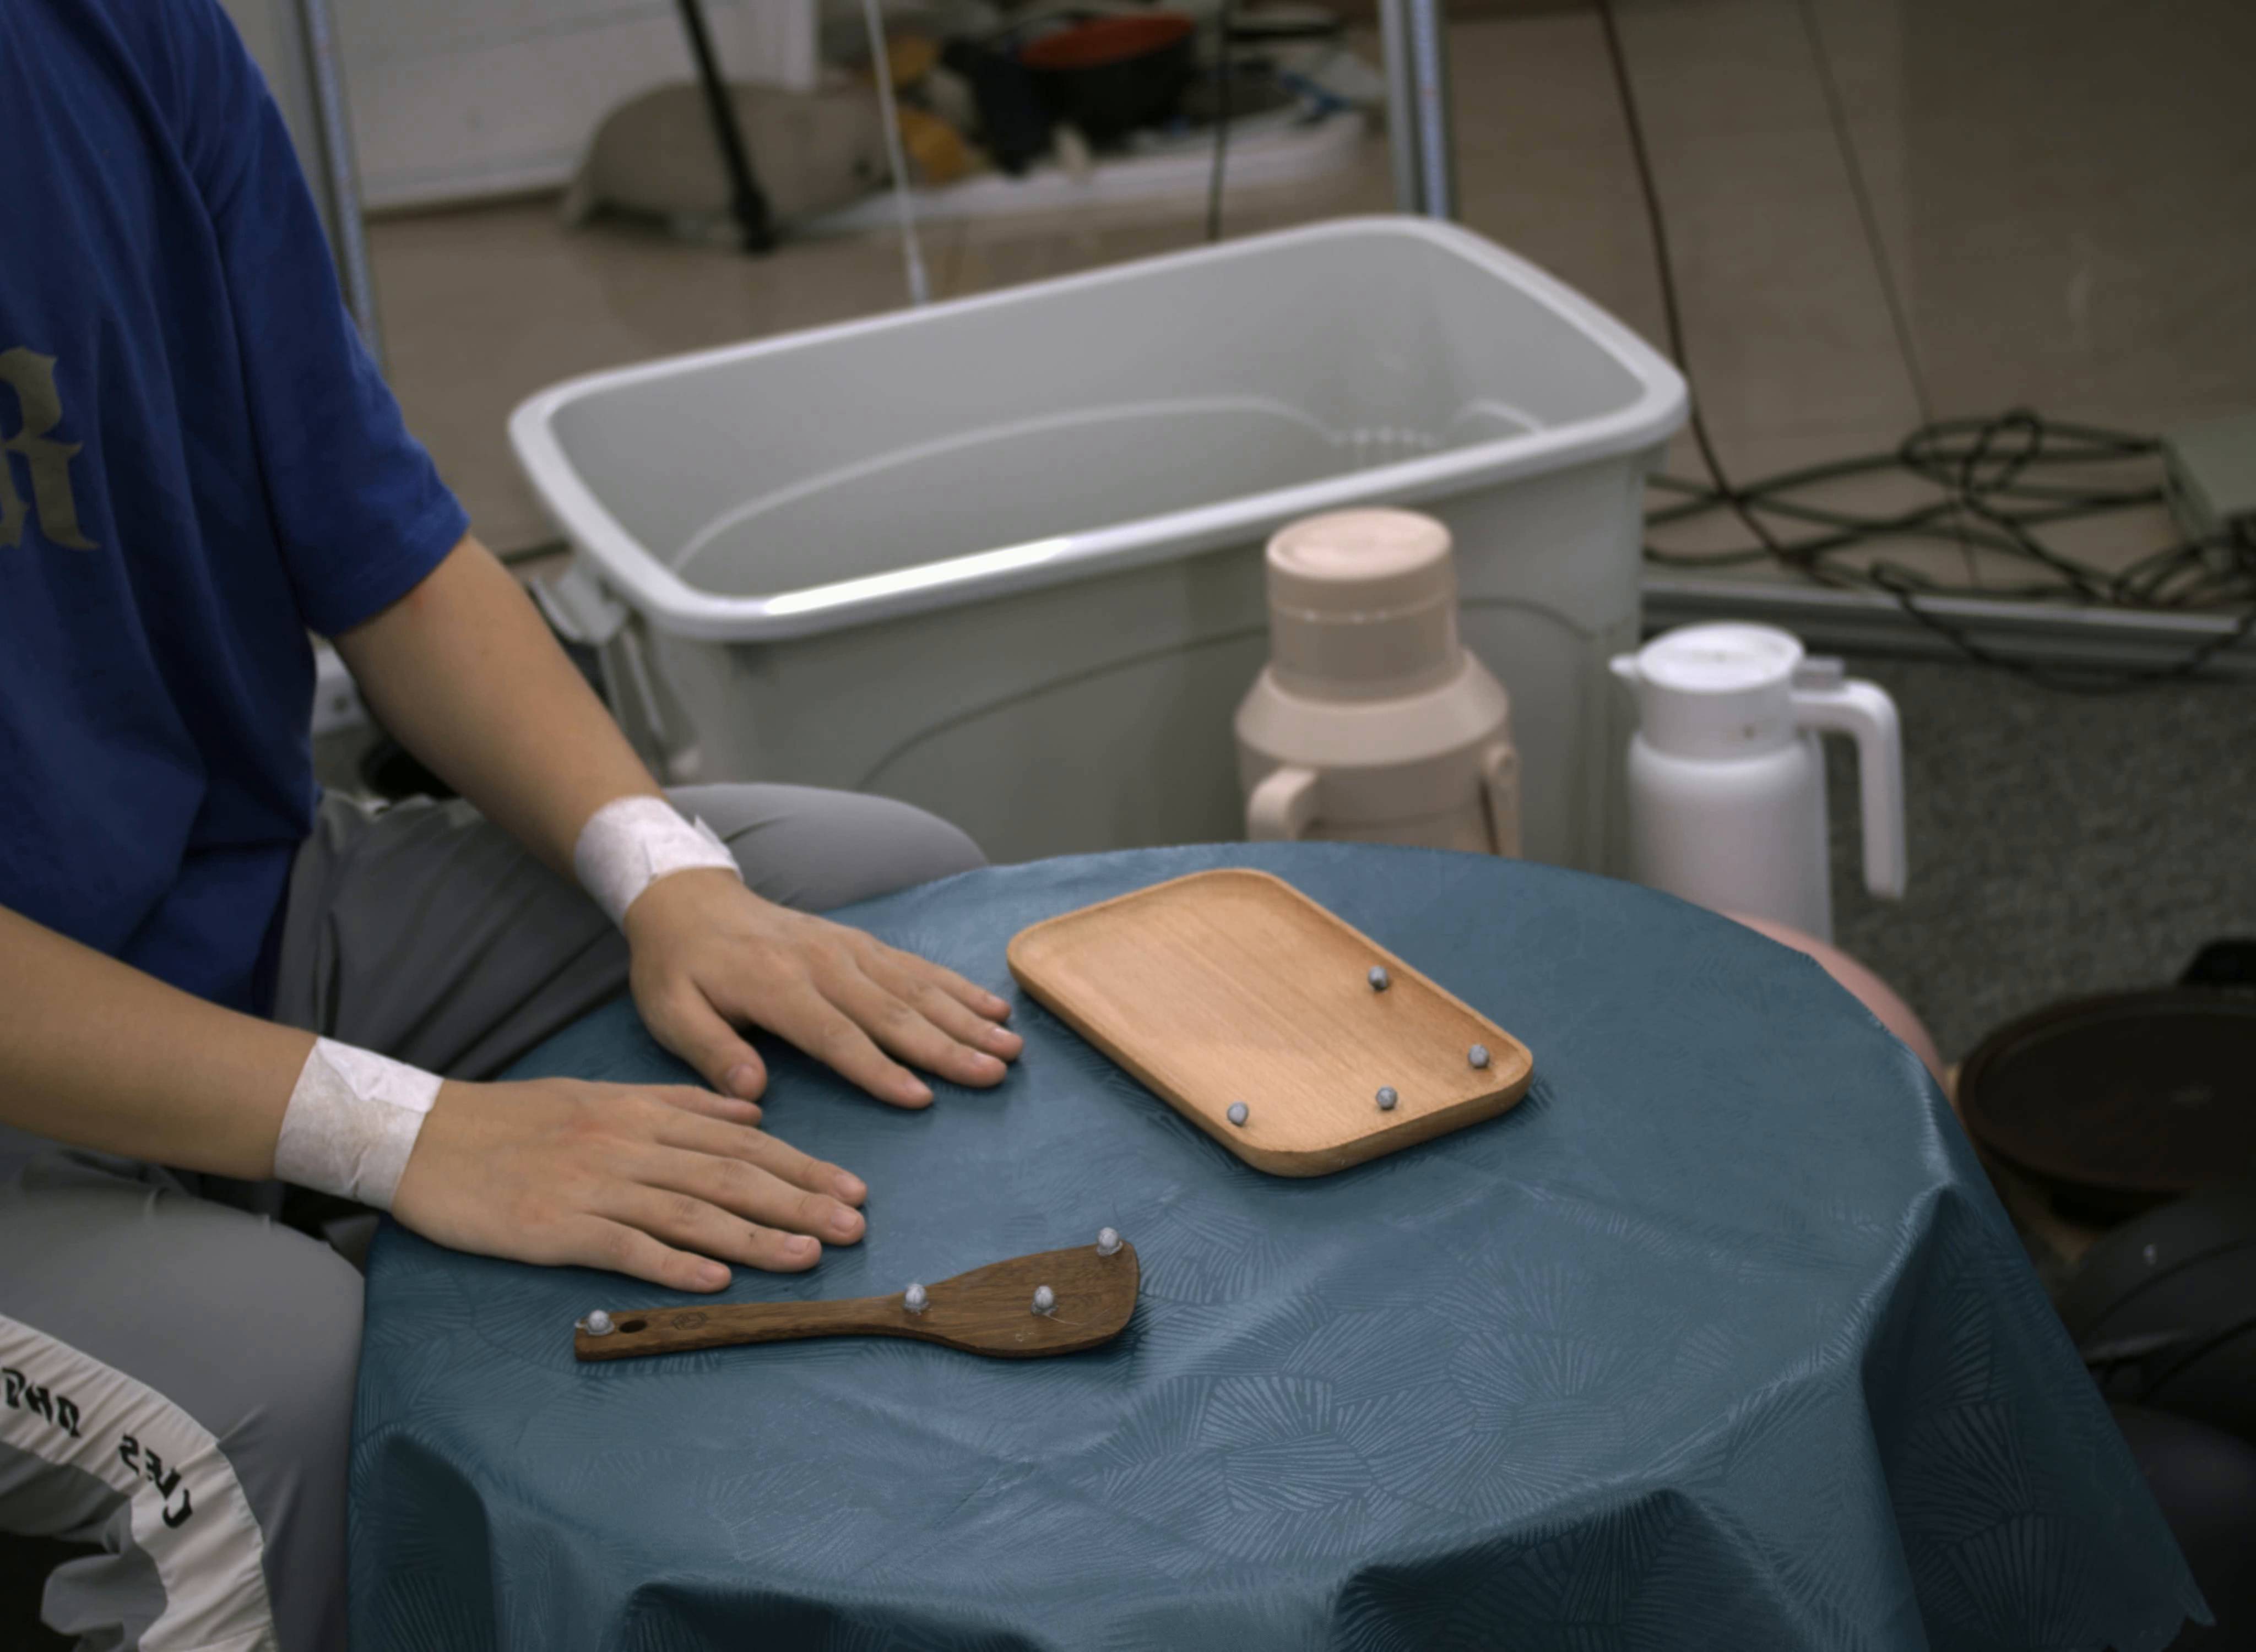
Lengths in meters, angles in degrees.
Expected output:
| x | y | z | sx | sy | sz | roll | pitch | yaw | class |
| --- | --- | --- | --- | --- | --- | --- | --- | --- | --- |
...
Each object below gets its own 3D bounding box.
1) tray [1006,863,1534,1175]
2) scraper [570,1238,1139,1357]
| x | y | z | sx | sy | sz | roll | pitch | yaw | class |
| --- | --- | --- | --- | --- | --- | --- | --- | --- | --- |
| 0.053 | 0.075 | 2.252 | 0.130 | 0.023 | 0.248 | -15 | 25 | -23 | tray |
| -0.100 | 0.179 | 2.076 | 0.211 | 0.011 | 0.075 | -5 | 23 | 6 | scraper |
